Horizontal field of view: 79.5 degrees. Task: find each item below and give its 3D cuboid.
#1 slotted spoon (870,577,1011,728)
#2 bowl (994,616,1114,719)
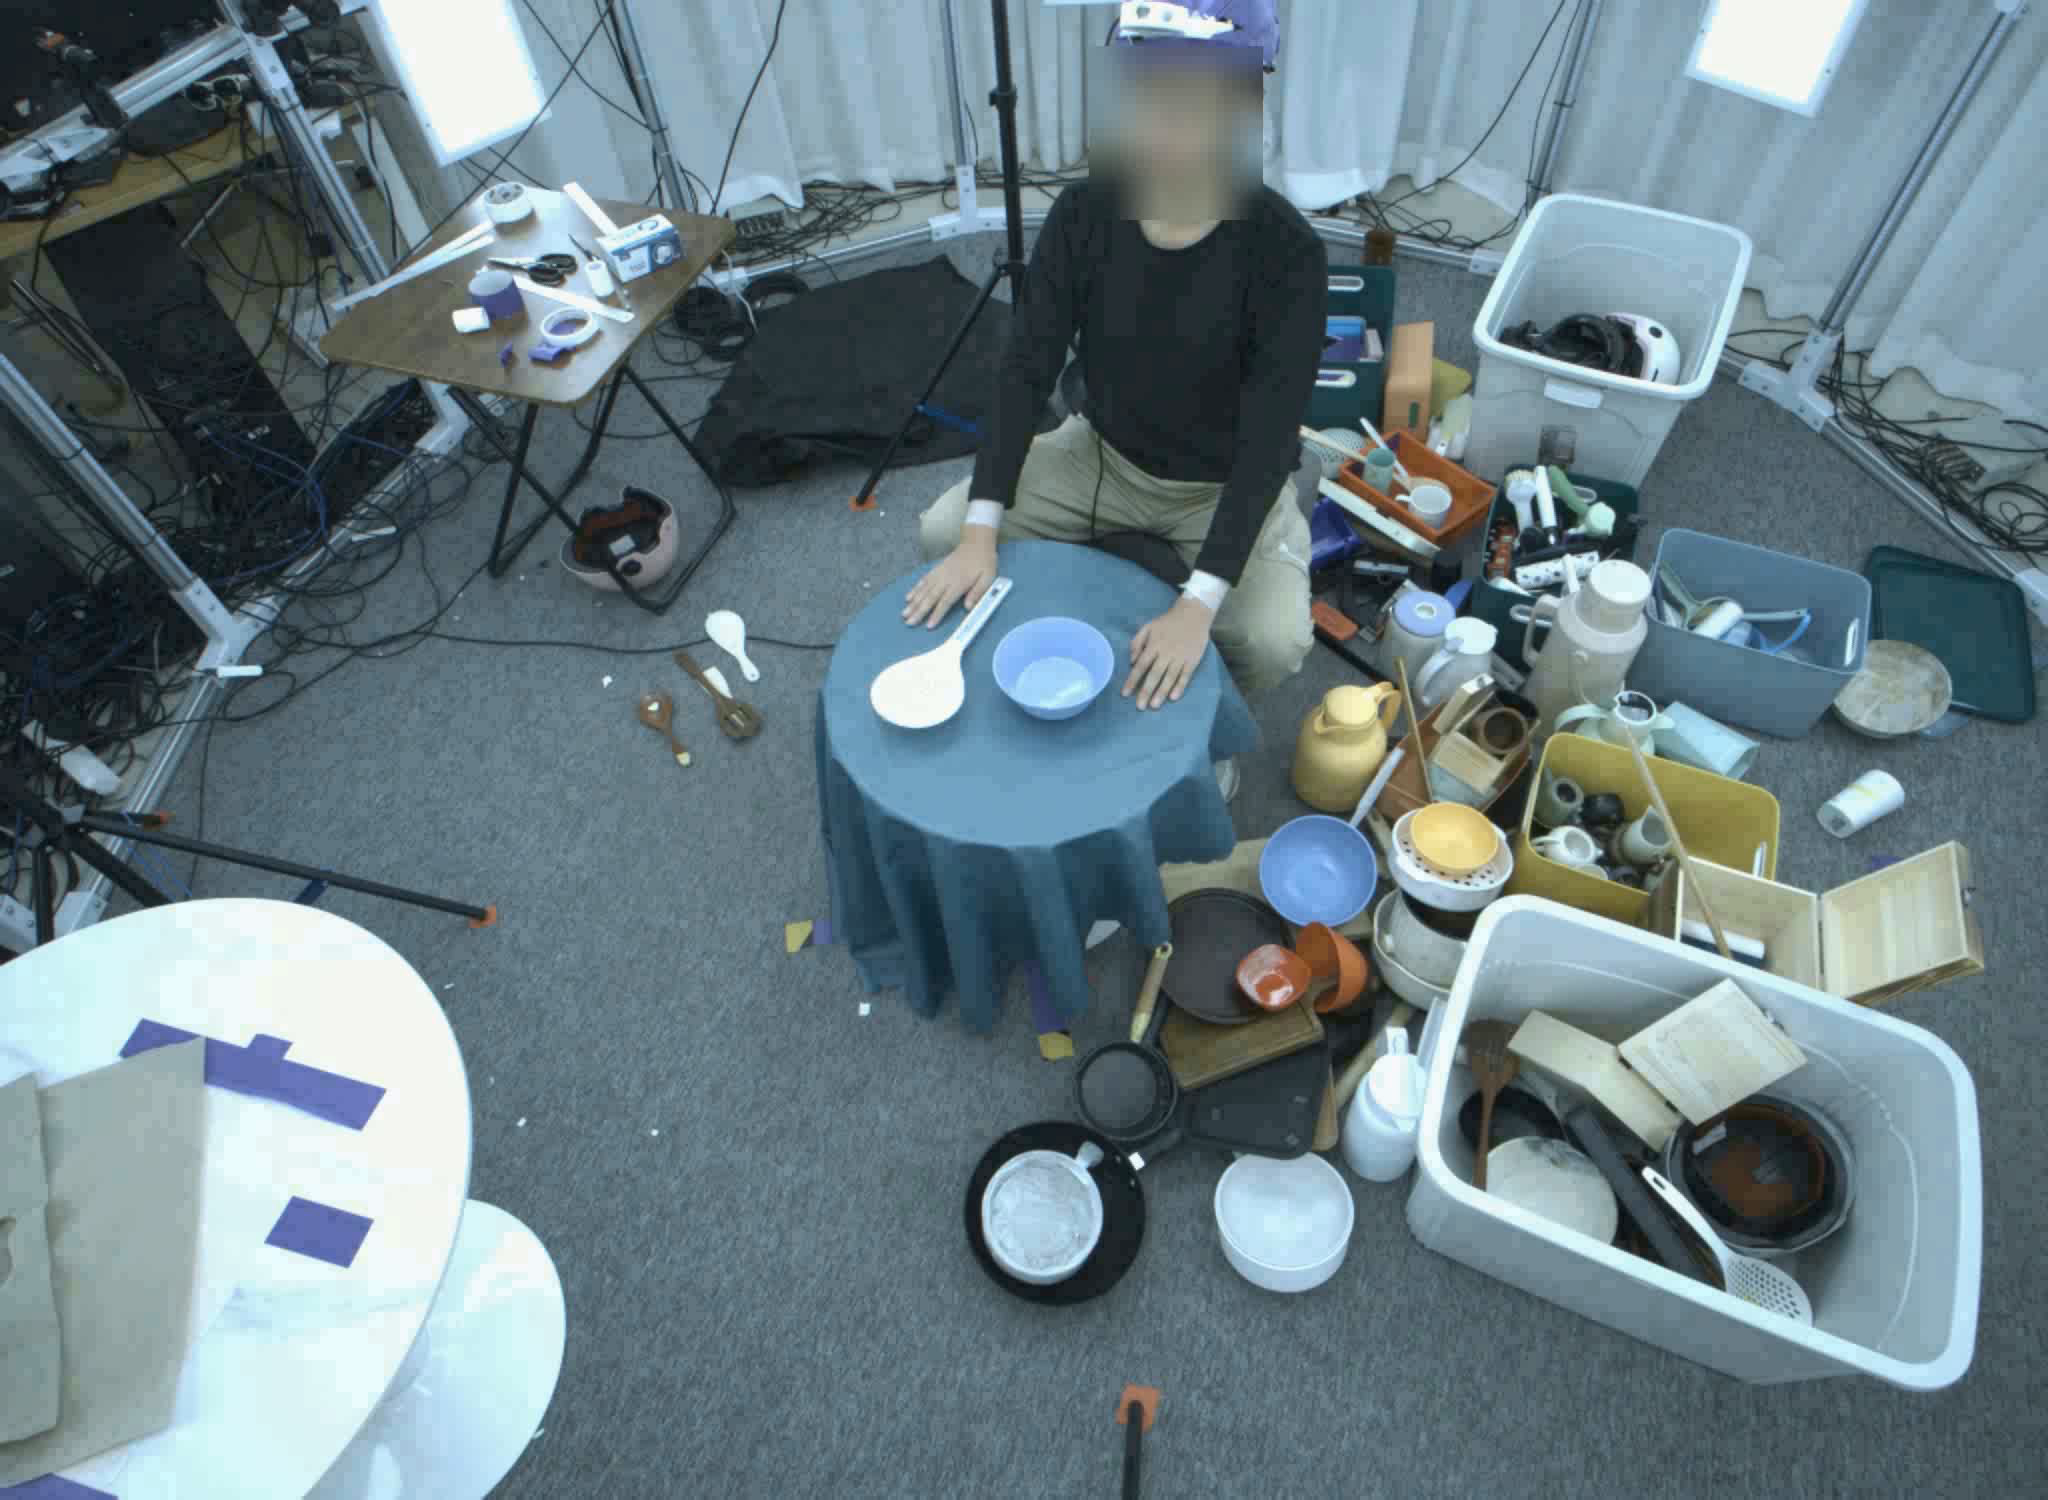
[{"bbox_3d":[-0.110,-0.154,1.873,0.134,0.046,0.350,21,57,16],"label":"slotted spoon"},{"bbox_3d":[0.045,-0.111,1.822,0.176,0.071,0.174,0,54,1],"label":"bowl"}]
